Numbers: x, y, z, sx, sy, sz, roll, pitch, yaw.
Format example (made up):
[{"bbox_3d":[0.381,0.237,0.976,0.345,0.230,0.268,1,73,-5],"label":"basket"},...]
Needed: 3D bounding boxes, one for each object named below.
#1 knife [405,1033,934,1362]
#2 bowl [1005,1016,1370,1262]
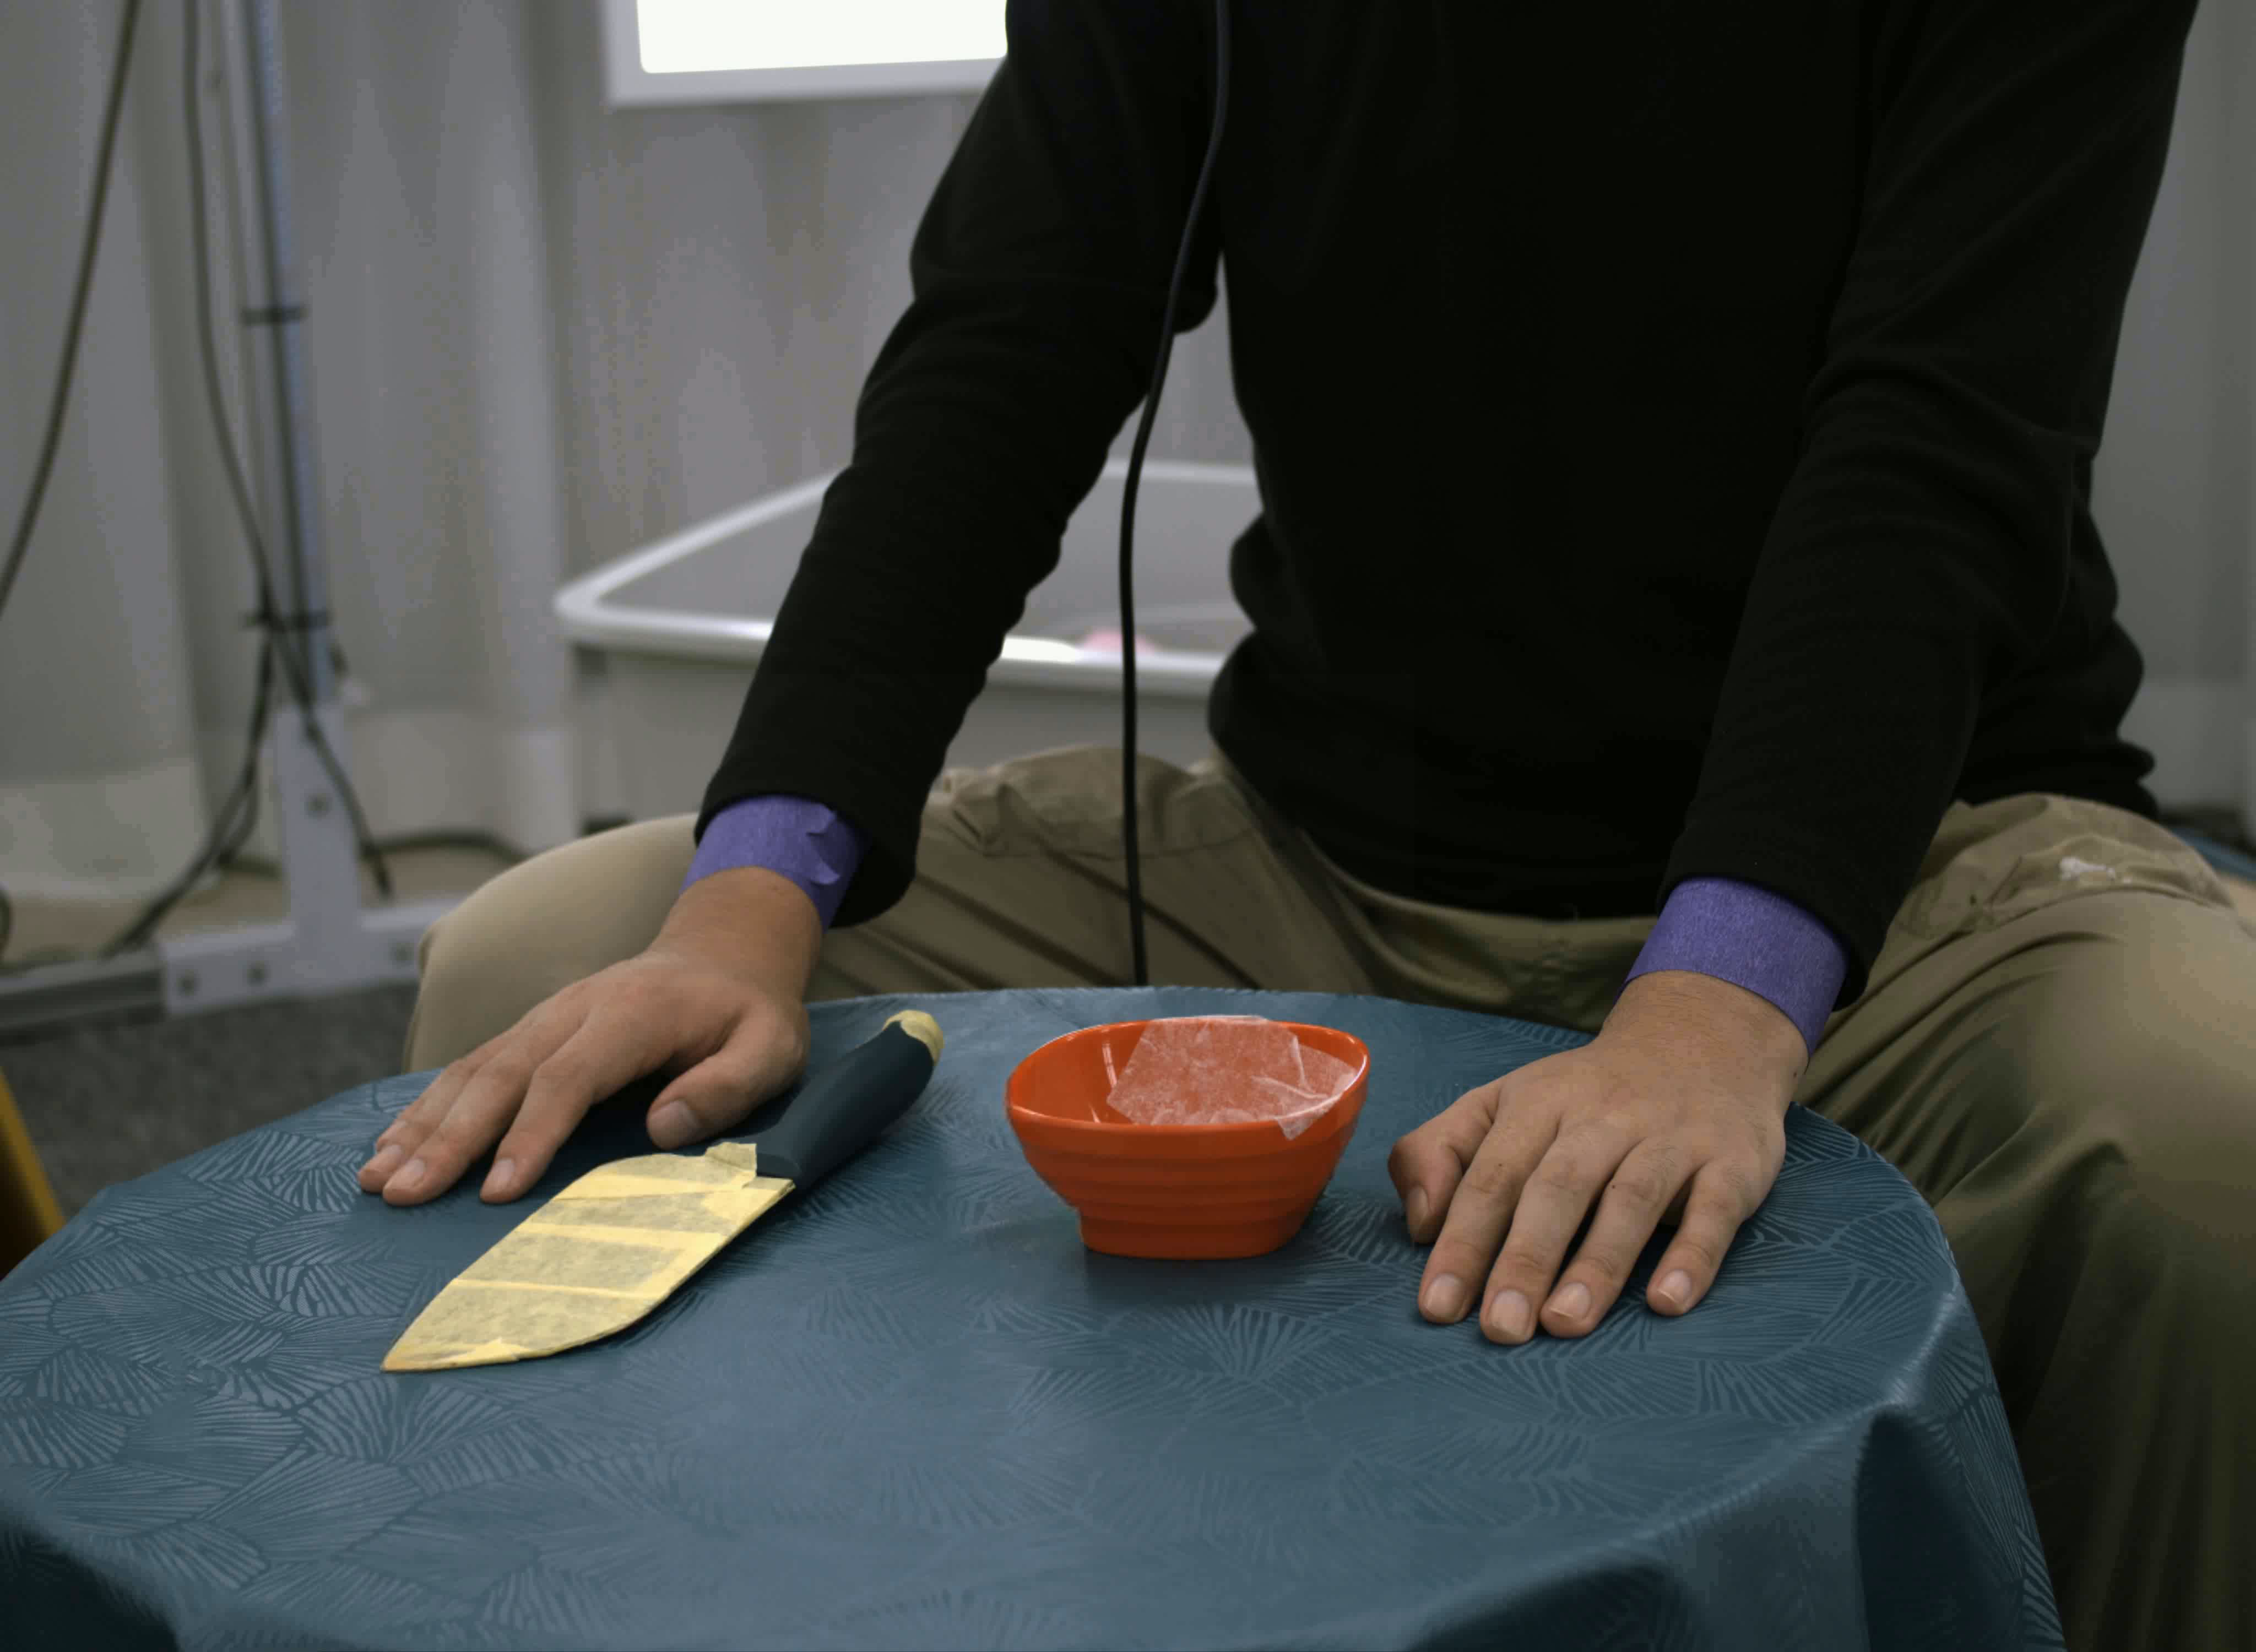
[{"bbox_3d":[-0.139,0.116,1.710,0.081,0.027,0.290,6,18,24],"label":"knife"},{"bbox_3d":[0.020,0.098,1.673,0.118,0.051,0.120,-4,15,1],"label":"bowl"}]
